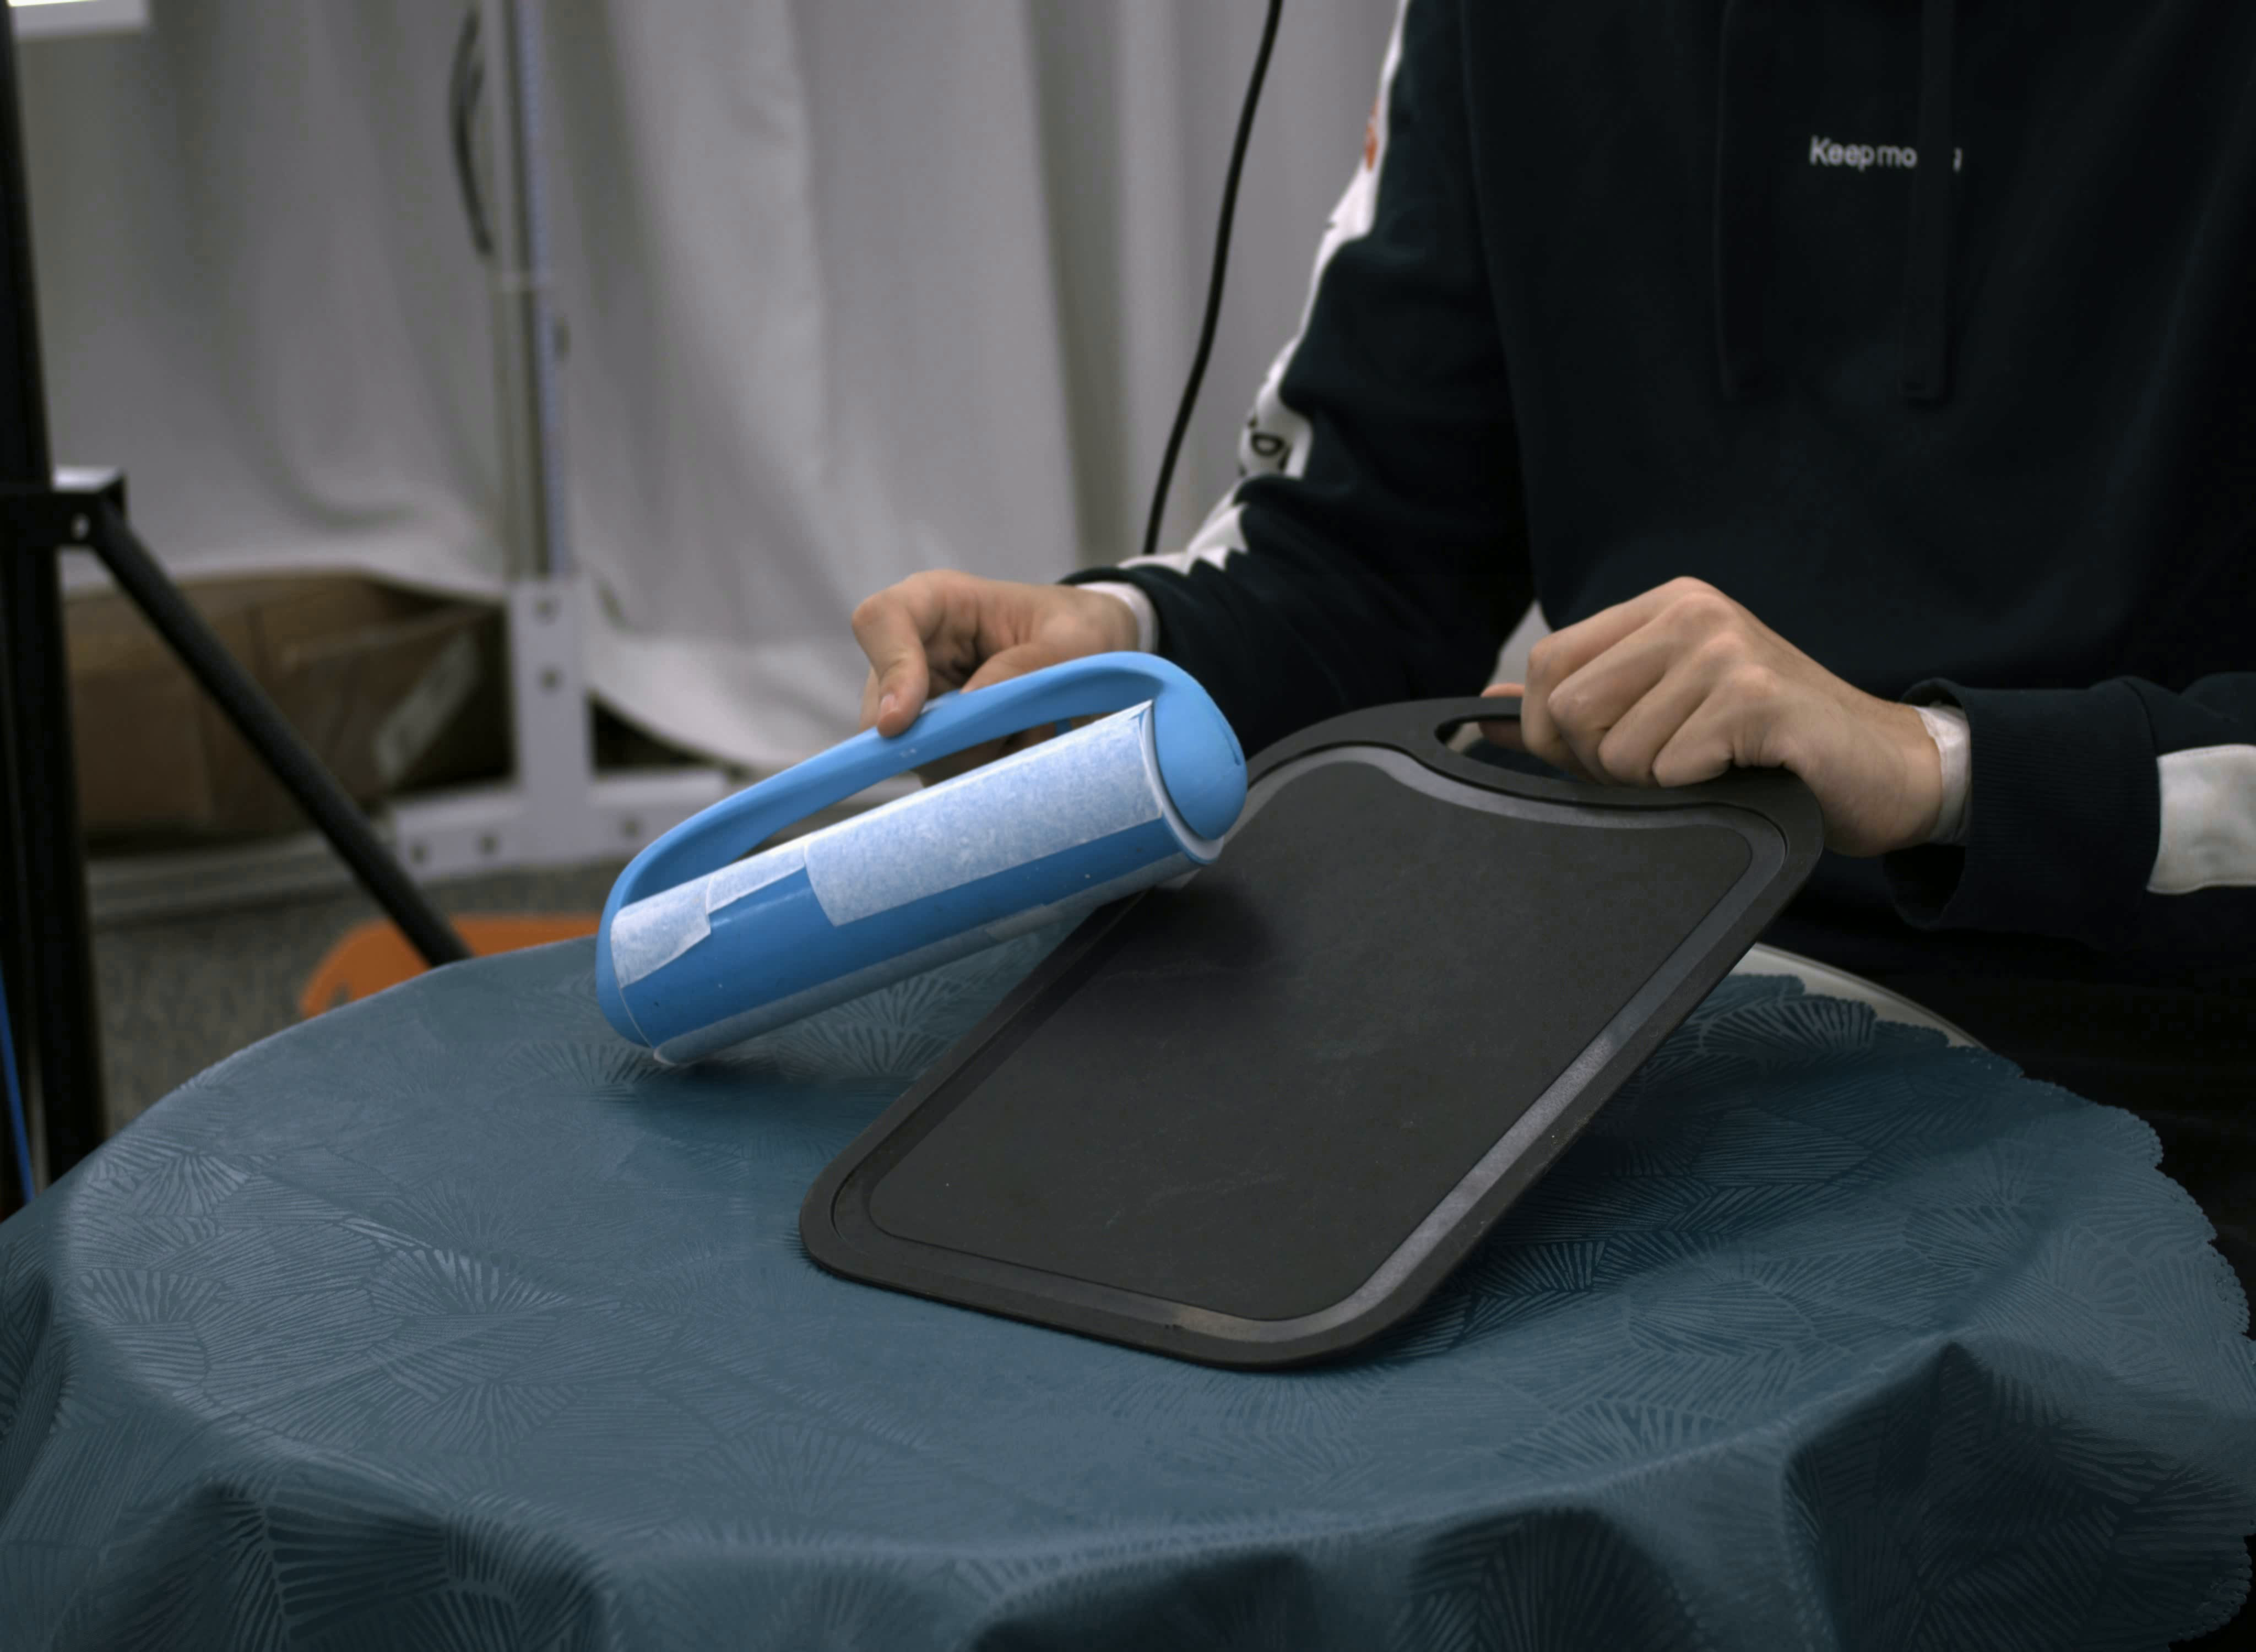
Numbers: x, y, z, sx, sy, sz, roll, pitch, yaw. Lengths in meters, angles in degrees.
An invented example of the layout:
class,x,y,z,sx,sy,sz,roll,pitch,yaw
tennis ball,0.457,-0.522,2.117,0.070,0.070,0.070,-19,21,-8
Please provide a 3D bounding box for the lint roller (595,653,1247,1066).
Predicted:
class,x,y,z,sx,sy,sz,roll,pitch,yaw
lint roller,-0.058,-0.008,1.705,0.231,0.067,0.180,-24,19,20

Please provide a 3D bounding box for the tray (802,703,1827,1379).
class,x,y,z,sx,sy,sz,roll,pitch,yaw
tray,0.061,0.050,1.558,0.215,0.010,0.321,10,39,37
